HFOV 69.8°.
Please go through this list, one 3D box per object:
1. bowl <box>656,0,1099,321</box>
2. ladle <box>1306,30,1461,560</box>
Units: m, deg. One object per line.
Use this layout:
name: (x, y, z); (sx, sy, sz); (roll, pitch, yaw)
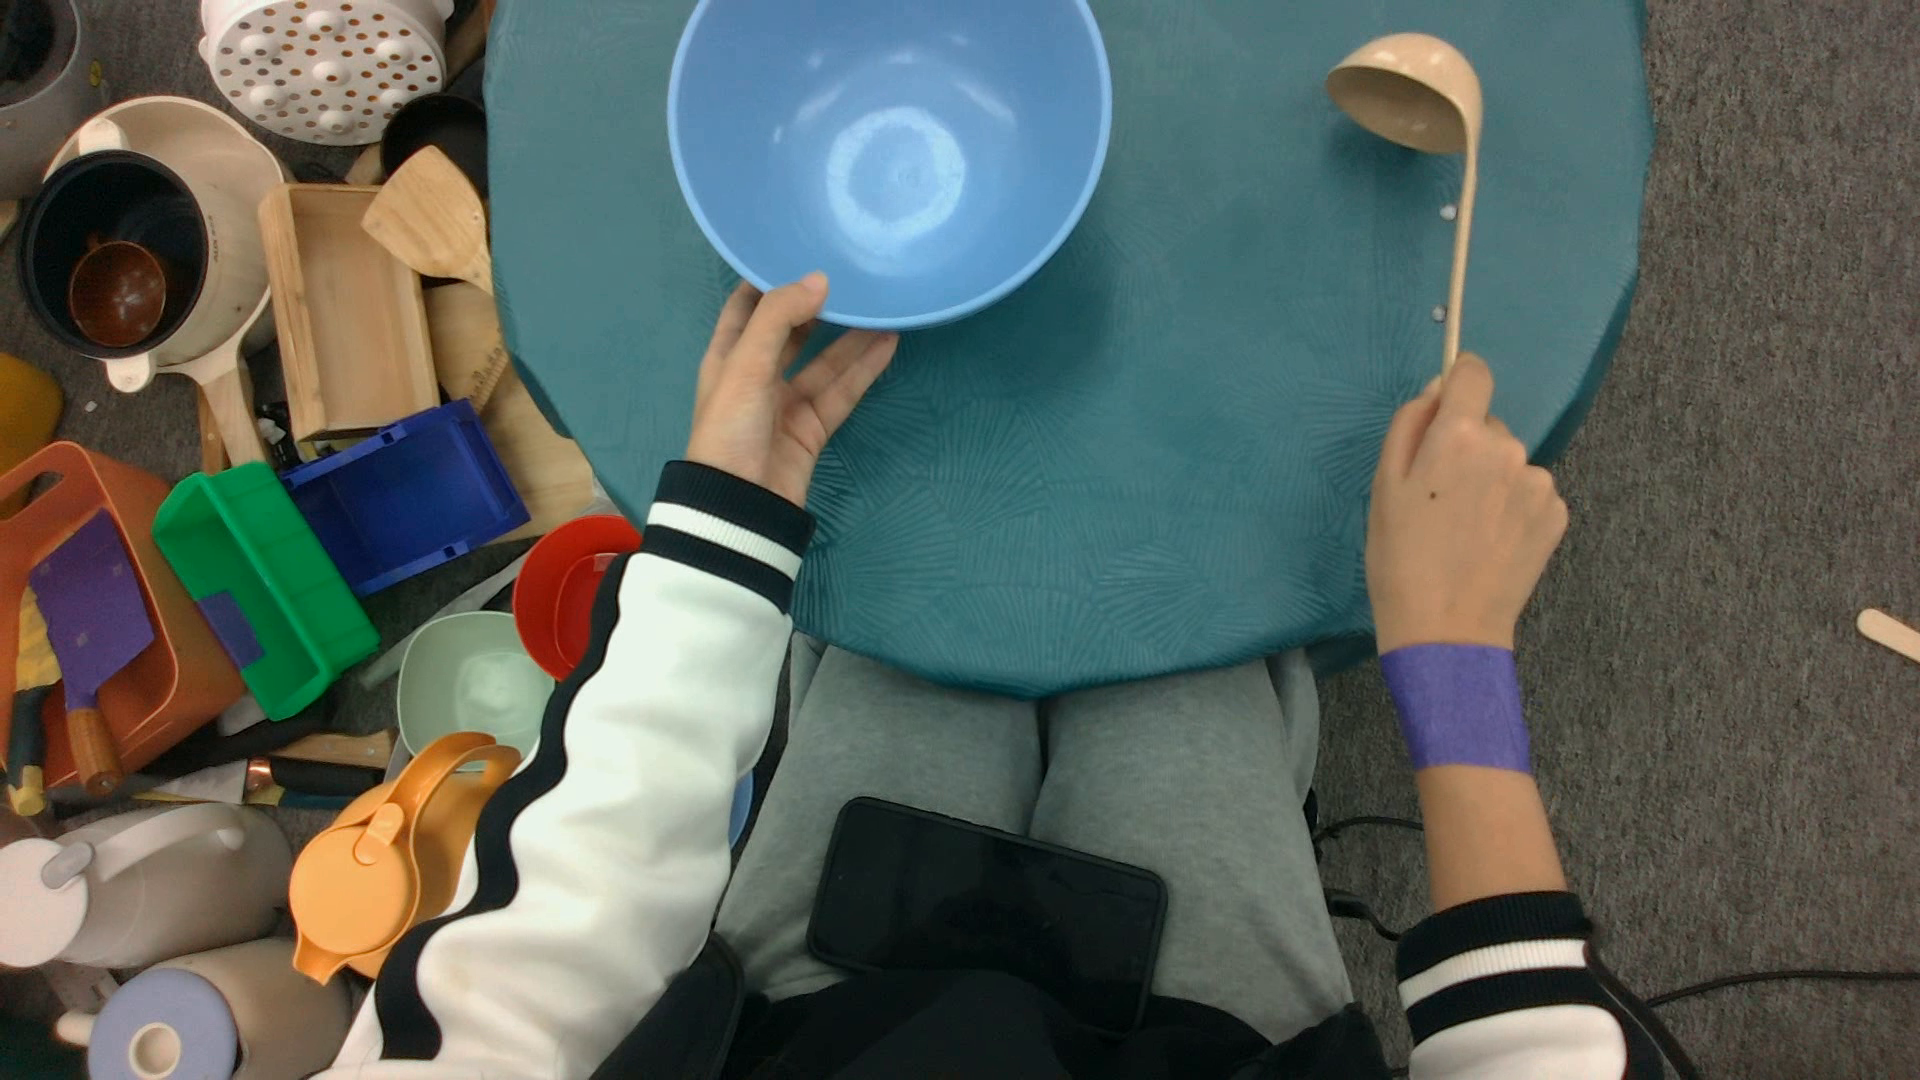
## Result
bowl: (-0.035, -0.189, 0.653); (0.196, 0.095, 0.196); (0, 84, 1)
ladle: (0.194, -0.115, 0.639); (0.072, 0.072, 0.255); (0, 75, 22)
